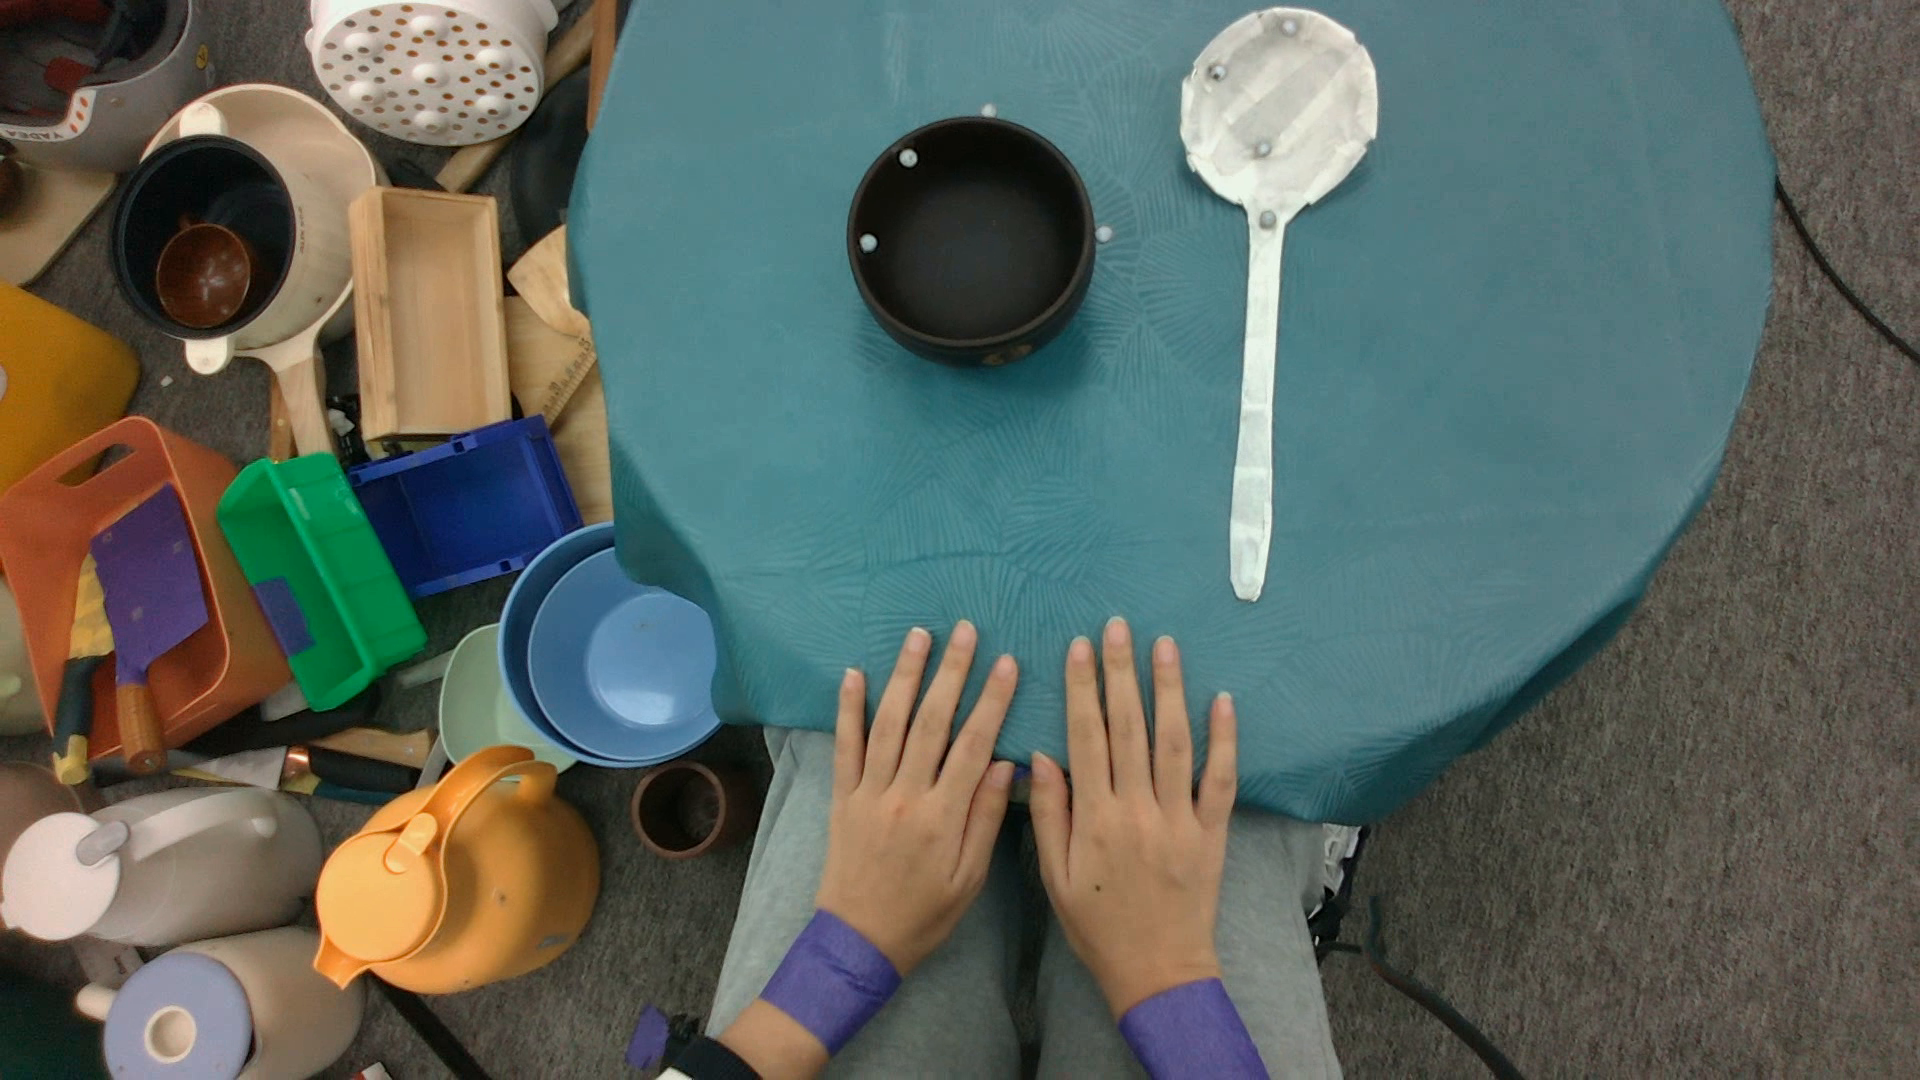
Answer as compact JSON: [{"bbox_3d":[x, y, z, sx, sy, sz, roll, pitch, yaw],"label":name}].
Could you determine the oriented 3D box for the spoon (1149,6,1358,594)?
[{"bbox_3d":[0.131,-0.114,0.659,0.100,0.059,0.278,6,80,9],"label":"spoon"}]

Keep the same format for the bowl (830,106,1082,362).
[{"bbox_3d":[0.000,-0.141,0.666,0.118,0.070,0.118,-1,79,5],"label":"bowl"}]
